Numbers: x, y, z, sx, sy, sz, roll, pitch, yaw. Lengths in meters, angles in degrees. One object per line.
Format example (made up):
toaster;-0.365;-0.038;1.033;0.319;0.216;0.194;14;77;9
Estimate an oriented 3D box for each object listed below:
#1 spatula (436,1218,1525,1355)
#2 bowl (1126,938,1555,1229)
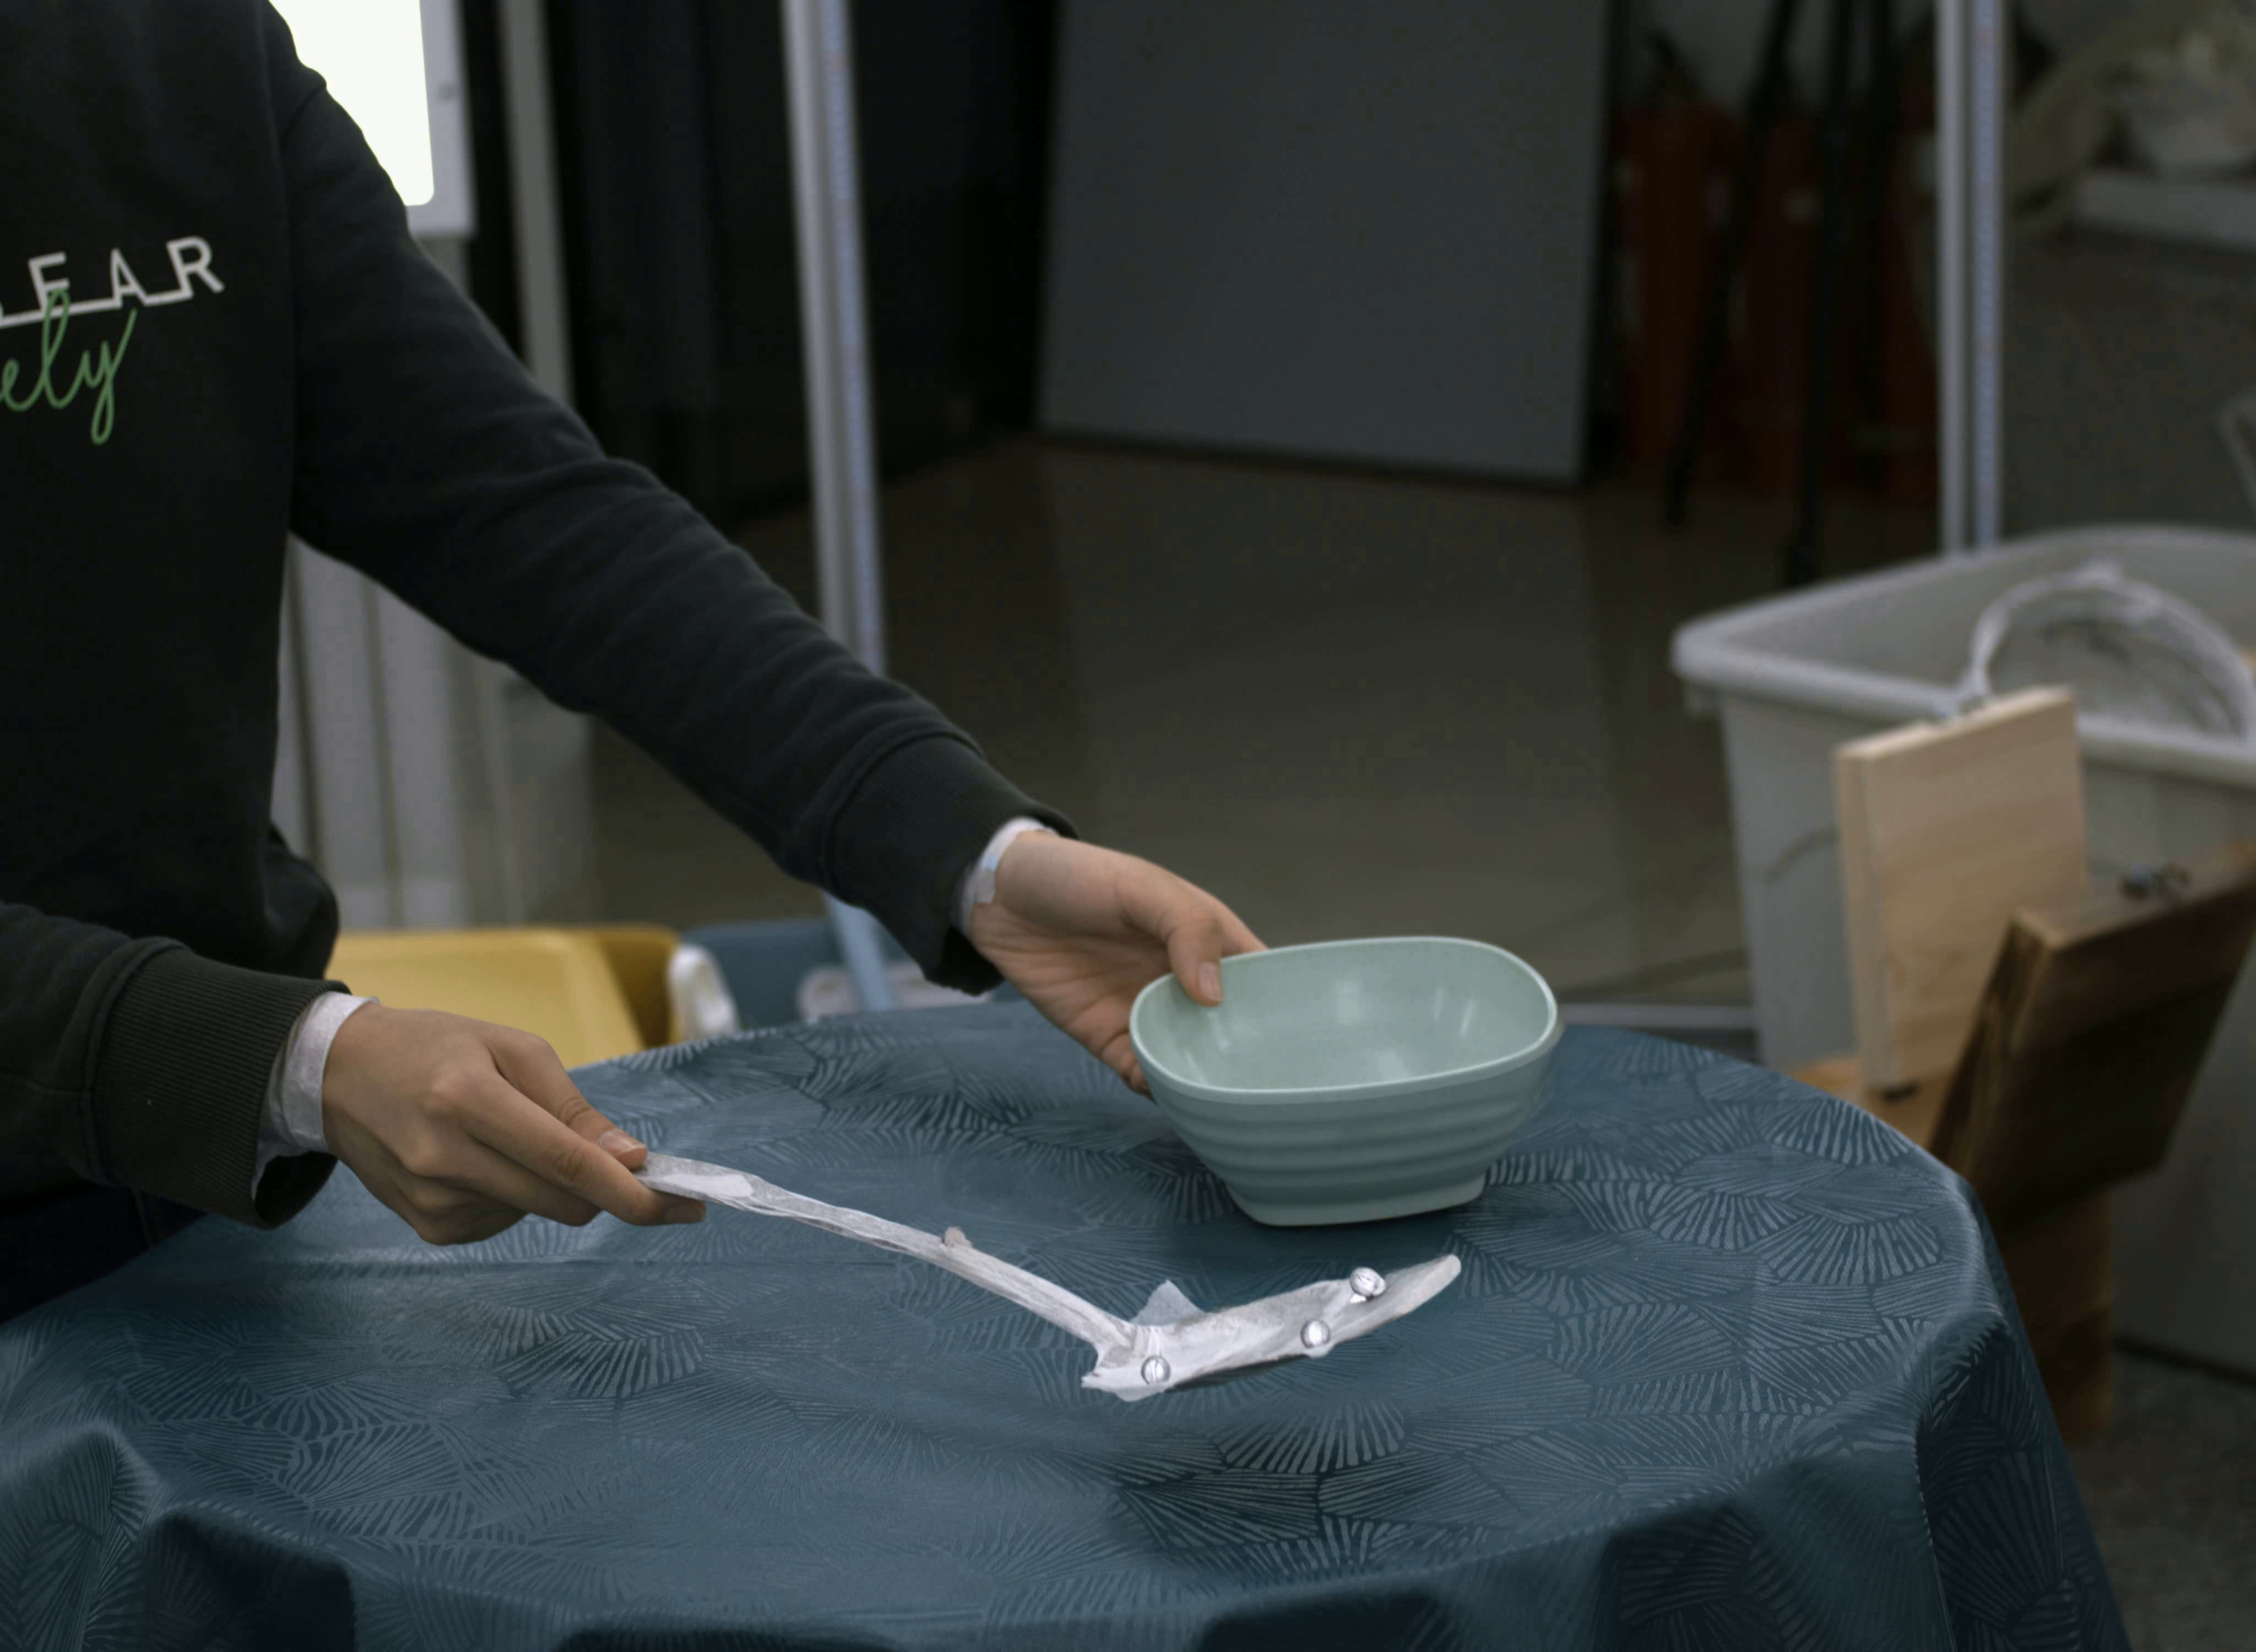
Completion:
spatula;-0.059;0.121;1.564;0.366;0.045;0.097;5;3;30
bowl;0.070;0.087;1.749;0.149;0.059;0.152;-3;18;0
